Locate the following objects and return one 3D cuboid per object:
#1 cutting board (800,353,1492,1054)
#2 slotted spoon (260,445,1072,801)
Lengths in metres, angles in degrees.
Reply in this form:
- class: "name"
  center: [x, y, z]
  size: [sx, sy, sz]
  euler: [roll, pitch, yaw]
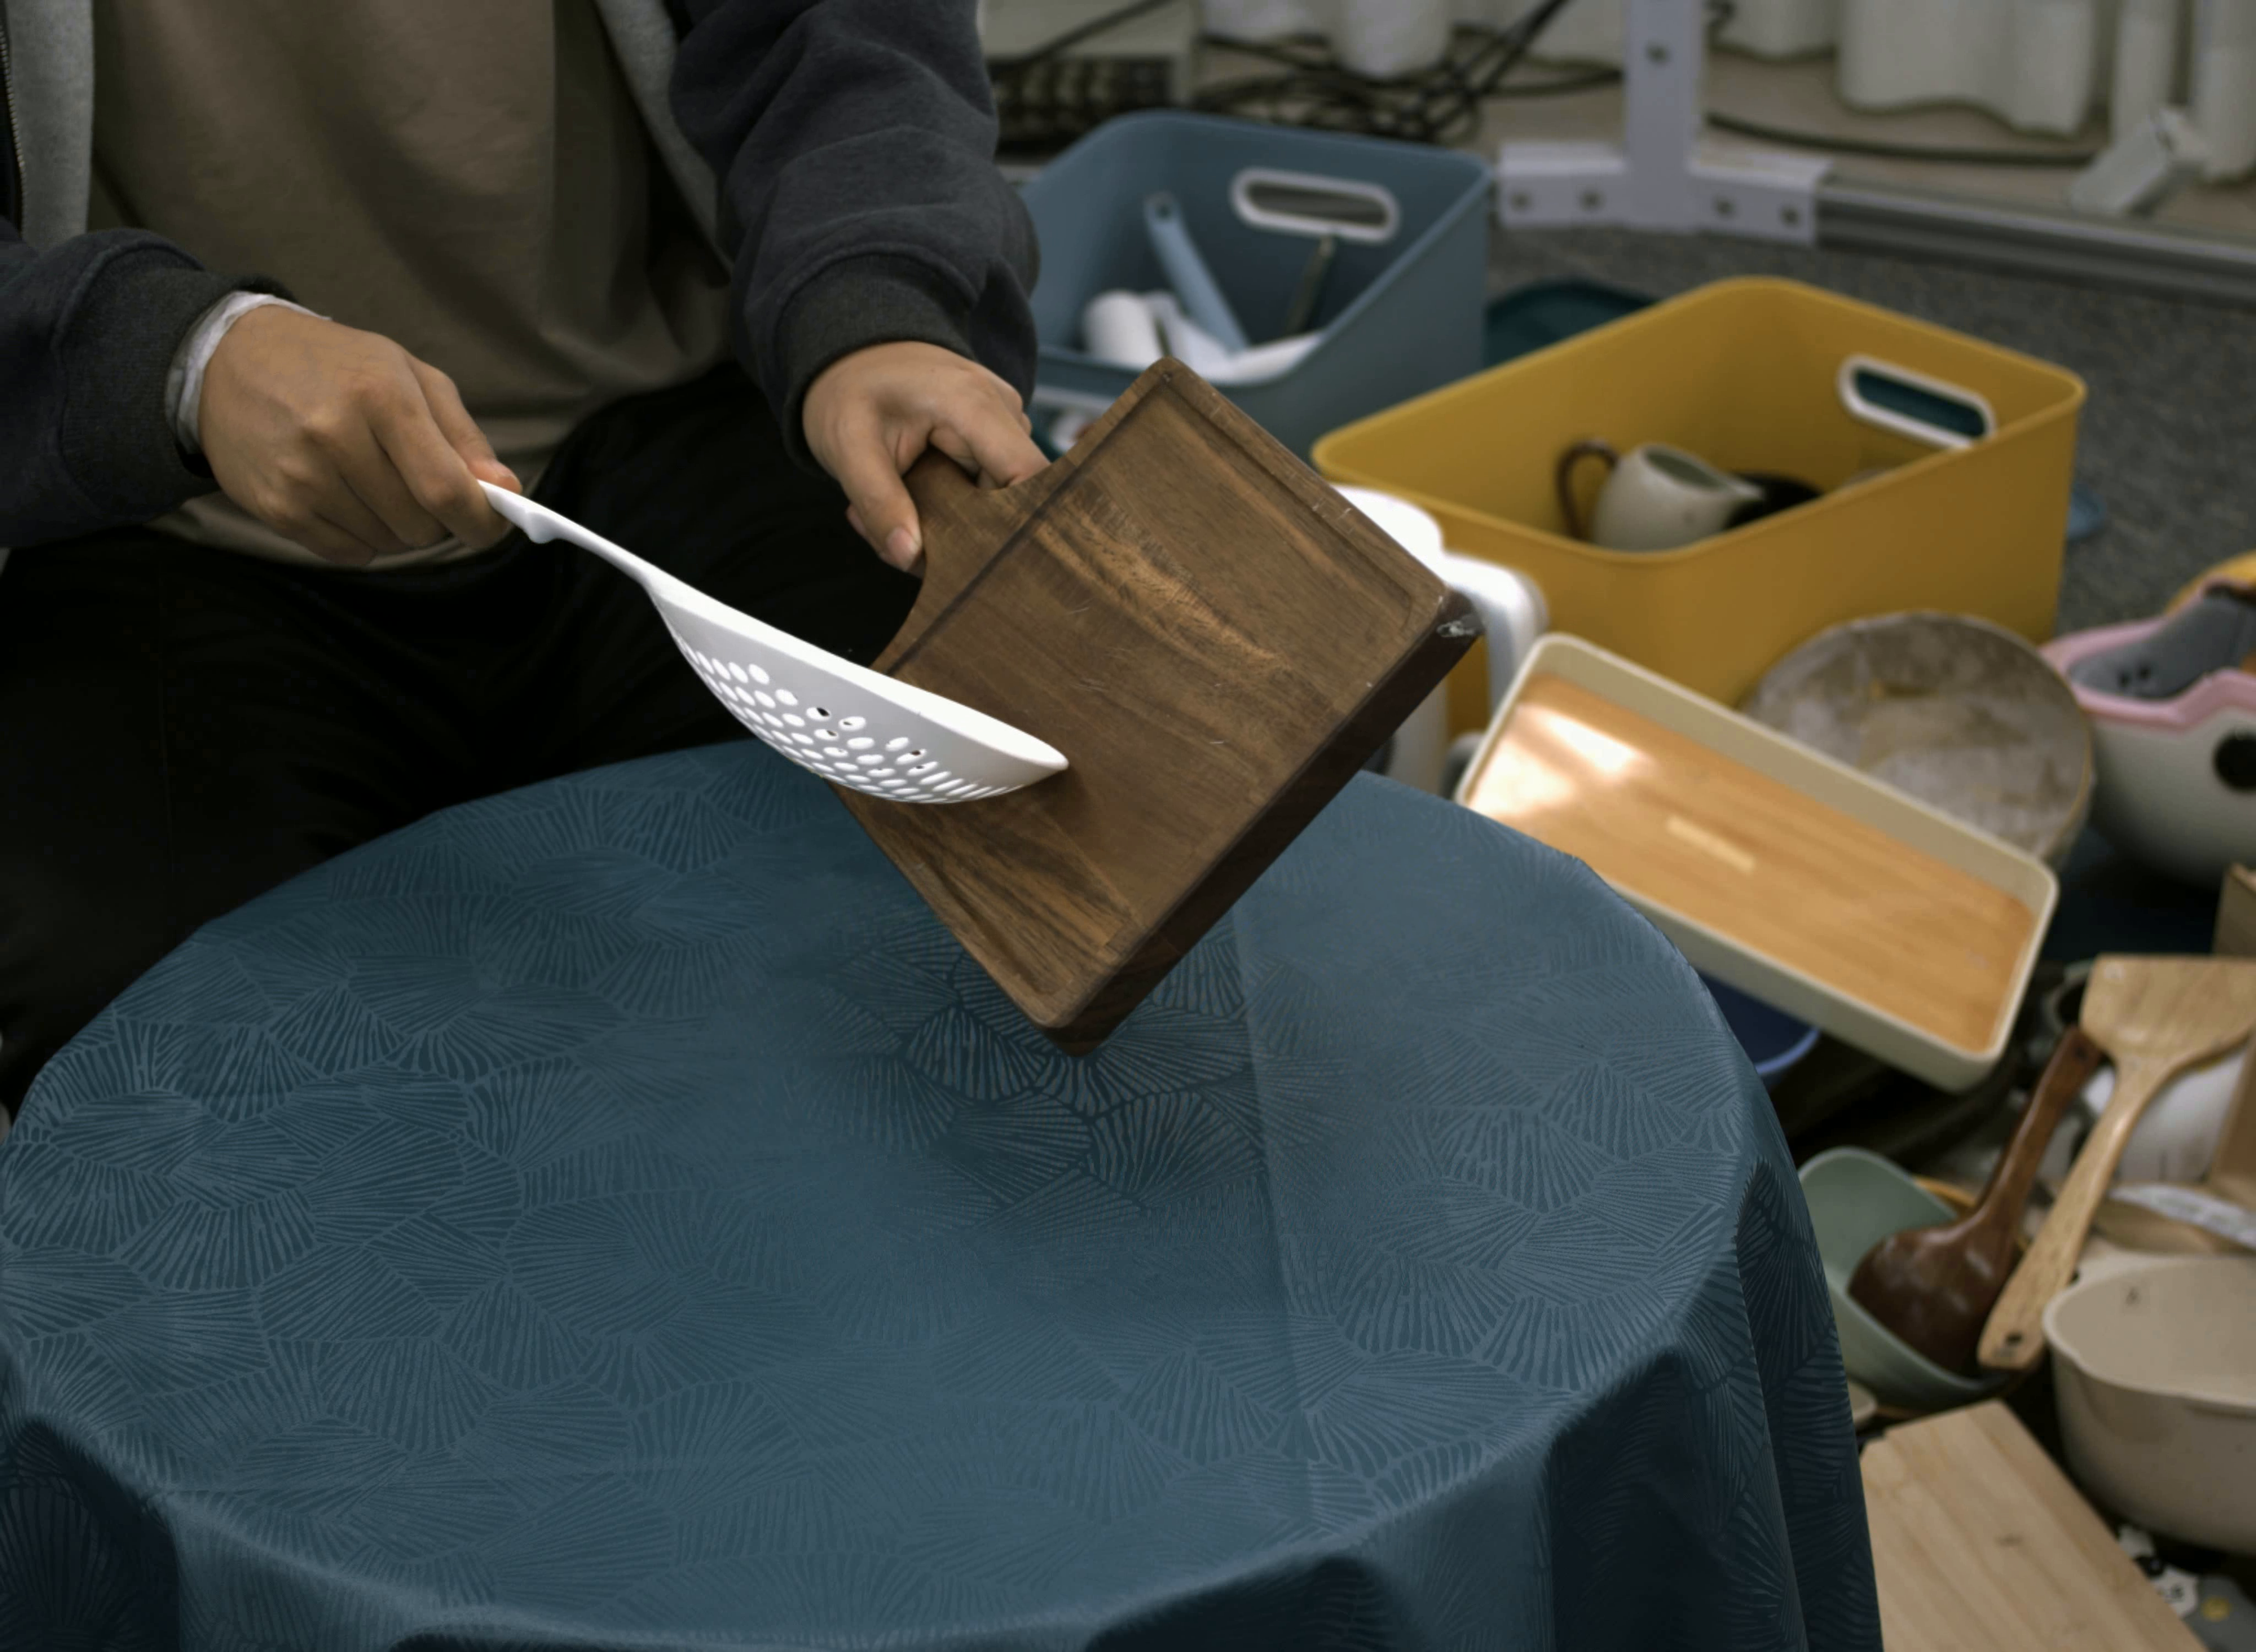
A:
- class: "cutting board"
  center: [-0.019, -0.067, 1.945]
  size: [0.201, 0.023, 0.354]
  euler: [-46, 33, 0]
- class: "slotted spoon"
  center: [-0.169, -0.080, 1.932]
  size: [0.348, 0.050, 0.136]
  euler: [30, 6, 33]
